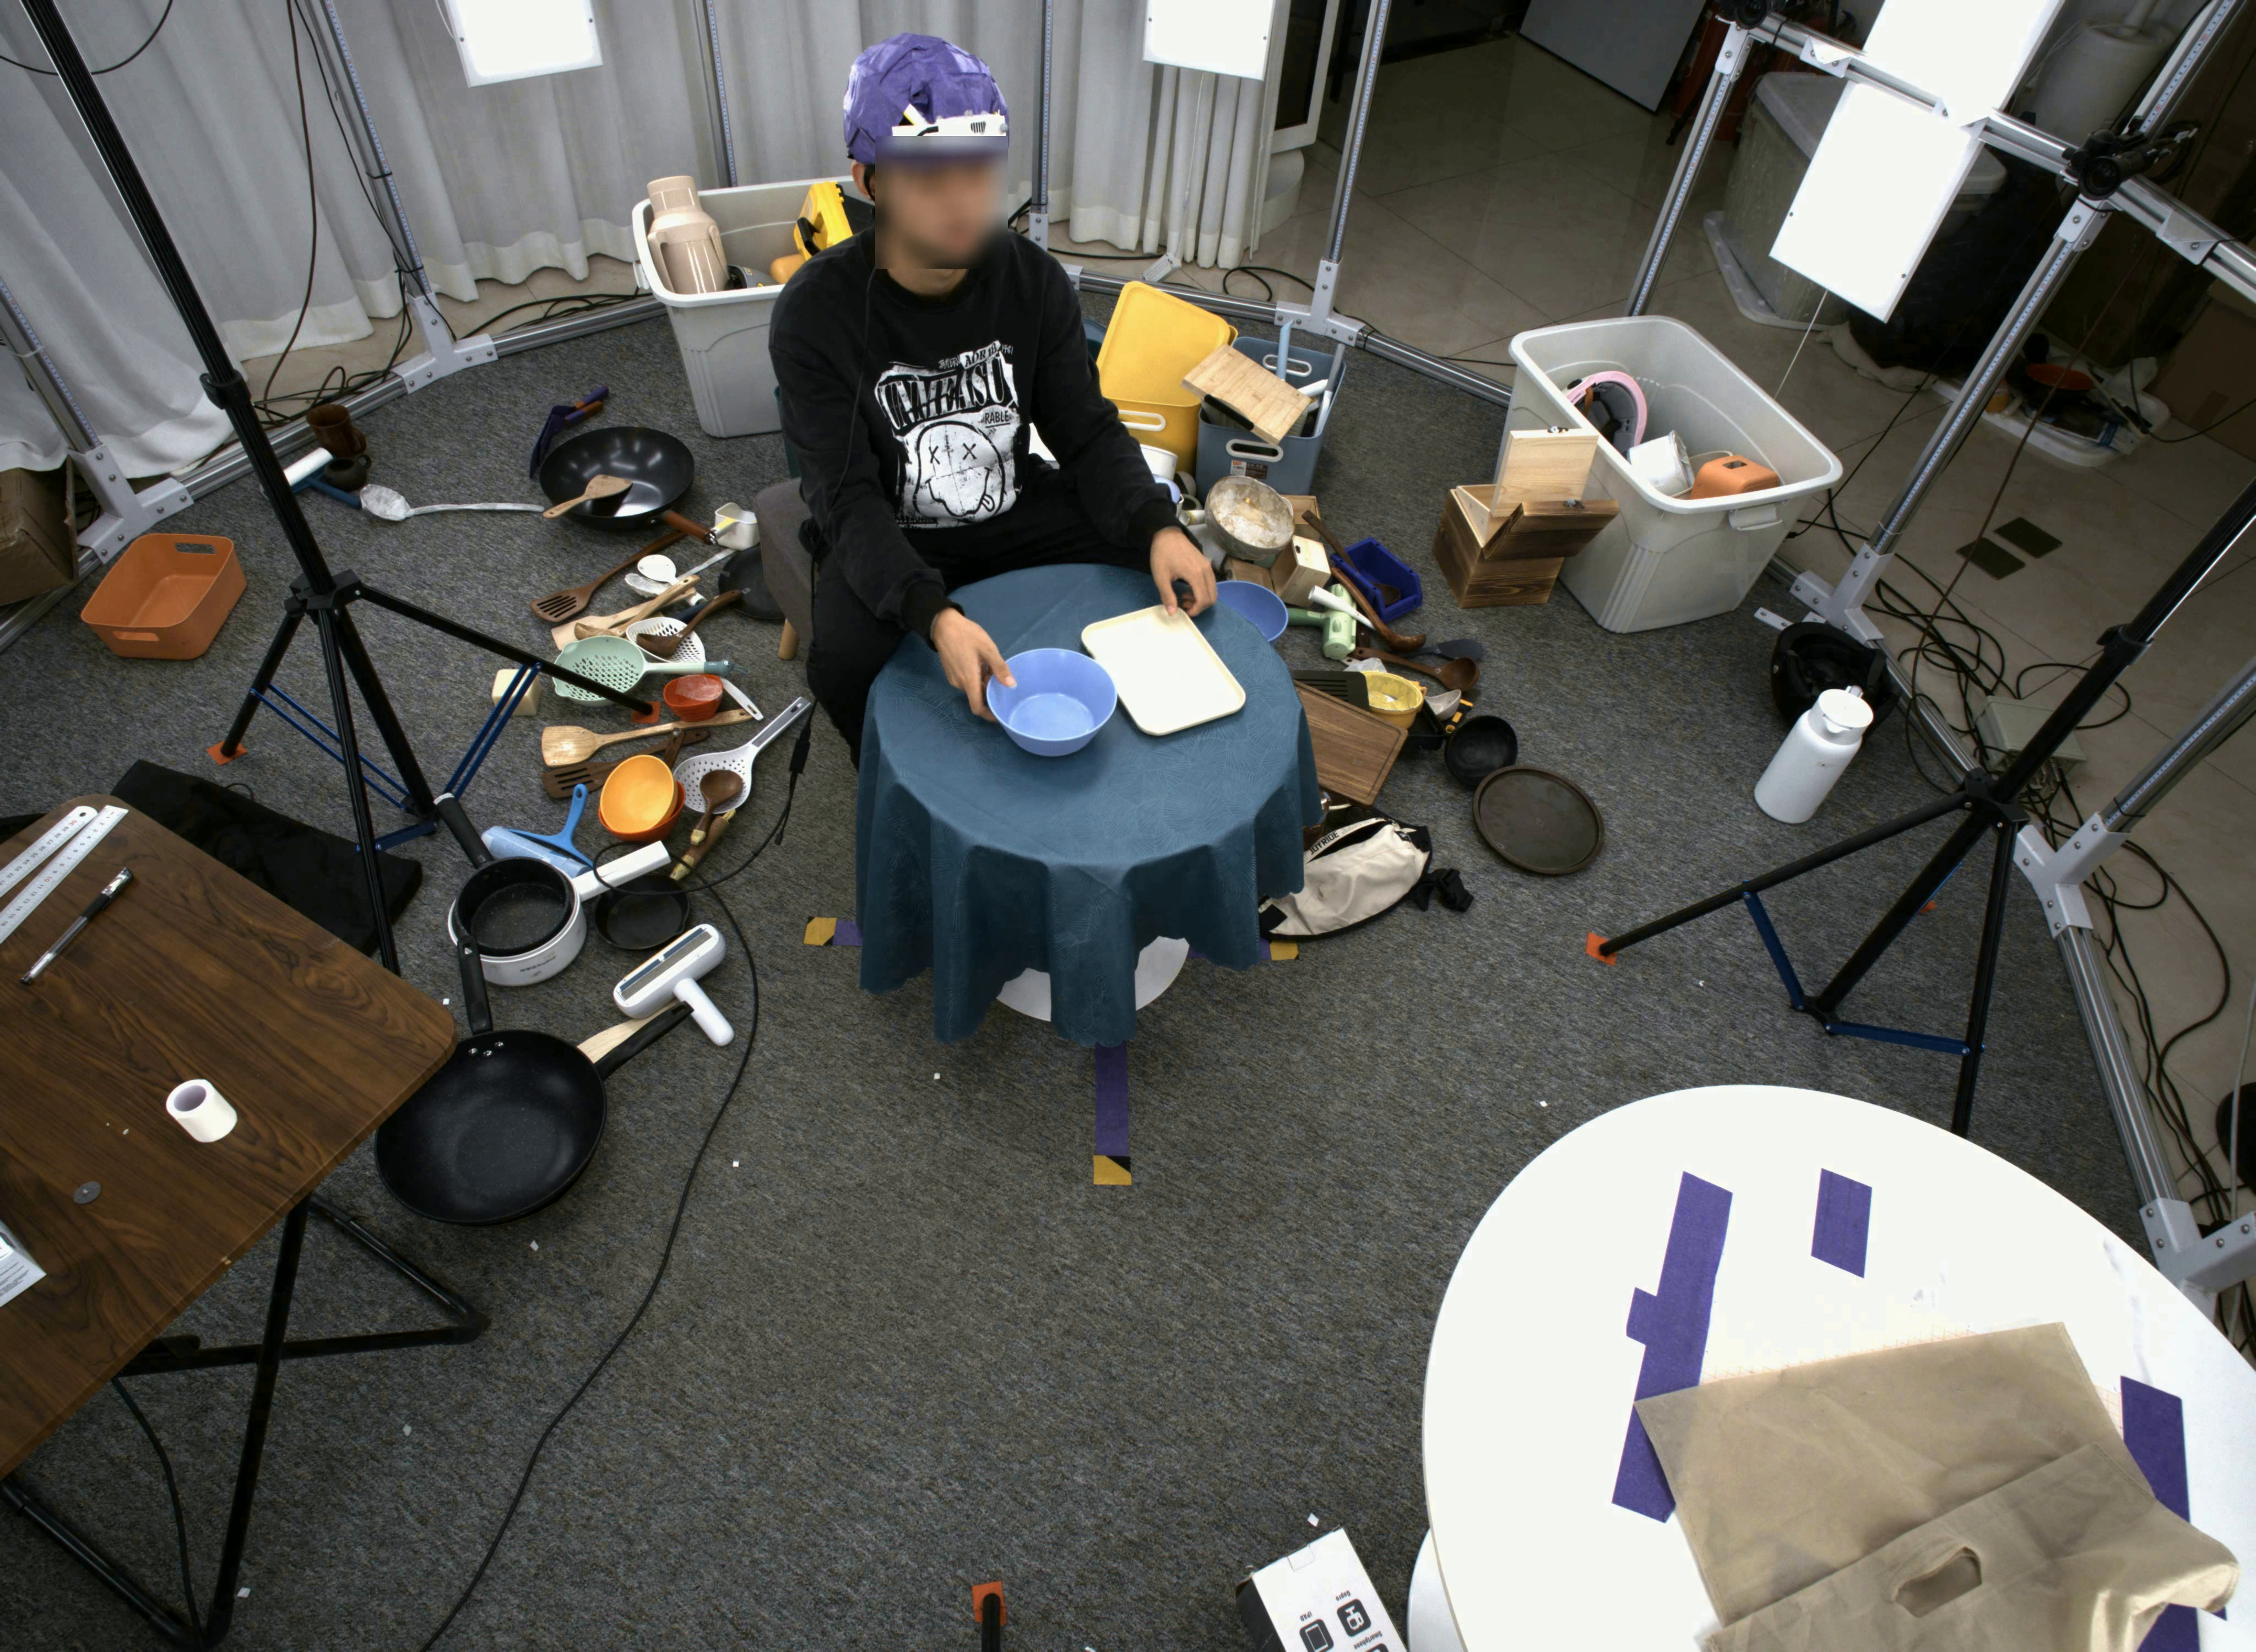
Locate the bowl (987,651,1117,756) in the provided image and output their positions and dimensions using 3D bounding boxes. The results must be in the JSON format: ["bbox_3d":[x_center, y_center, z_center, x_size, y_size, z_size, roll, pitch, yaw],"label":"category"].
[{"bbox_3d":[-0.105,-0.160,1.771,0.176,0.068,0.180,2,49,-3],"label":"bowl"}]

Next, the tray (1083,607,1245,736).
[{"bbox_3d":[0.050,-0.227,1.874,0.171,0.017,0.245,-18,52,-19],"label":"tray"}]
